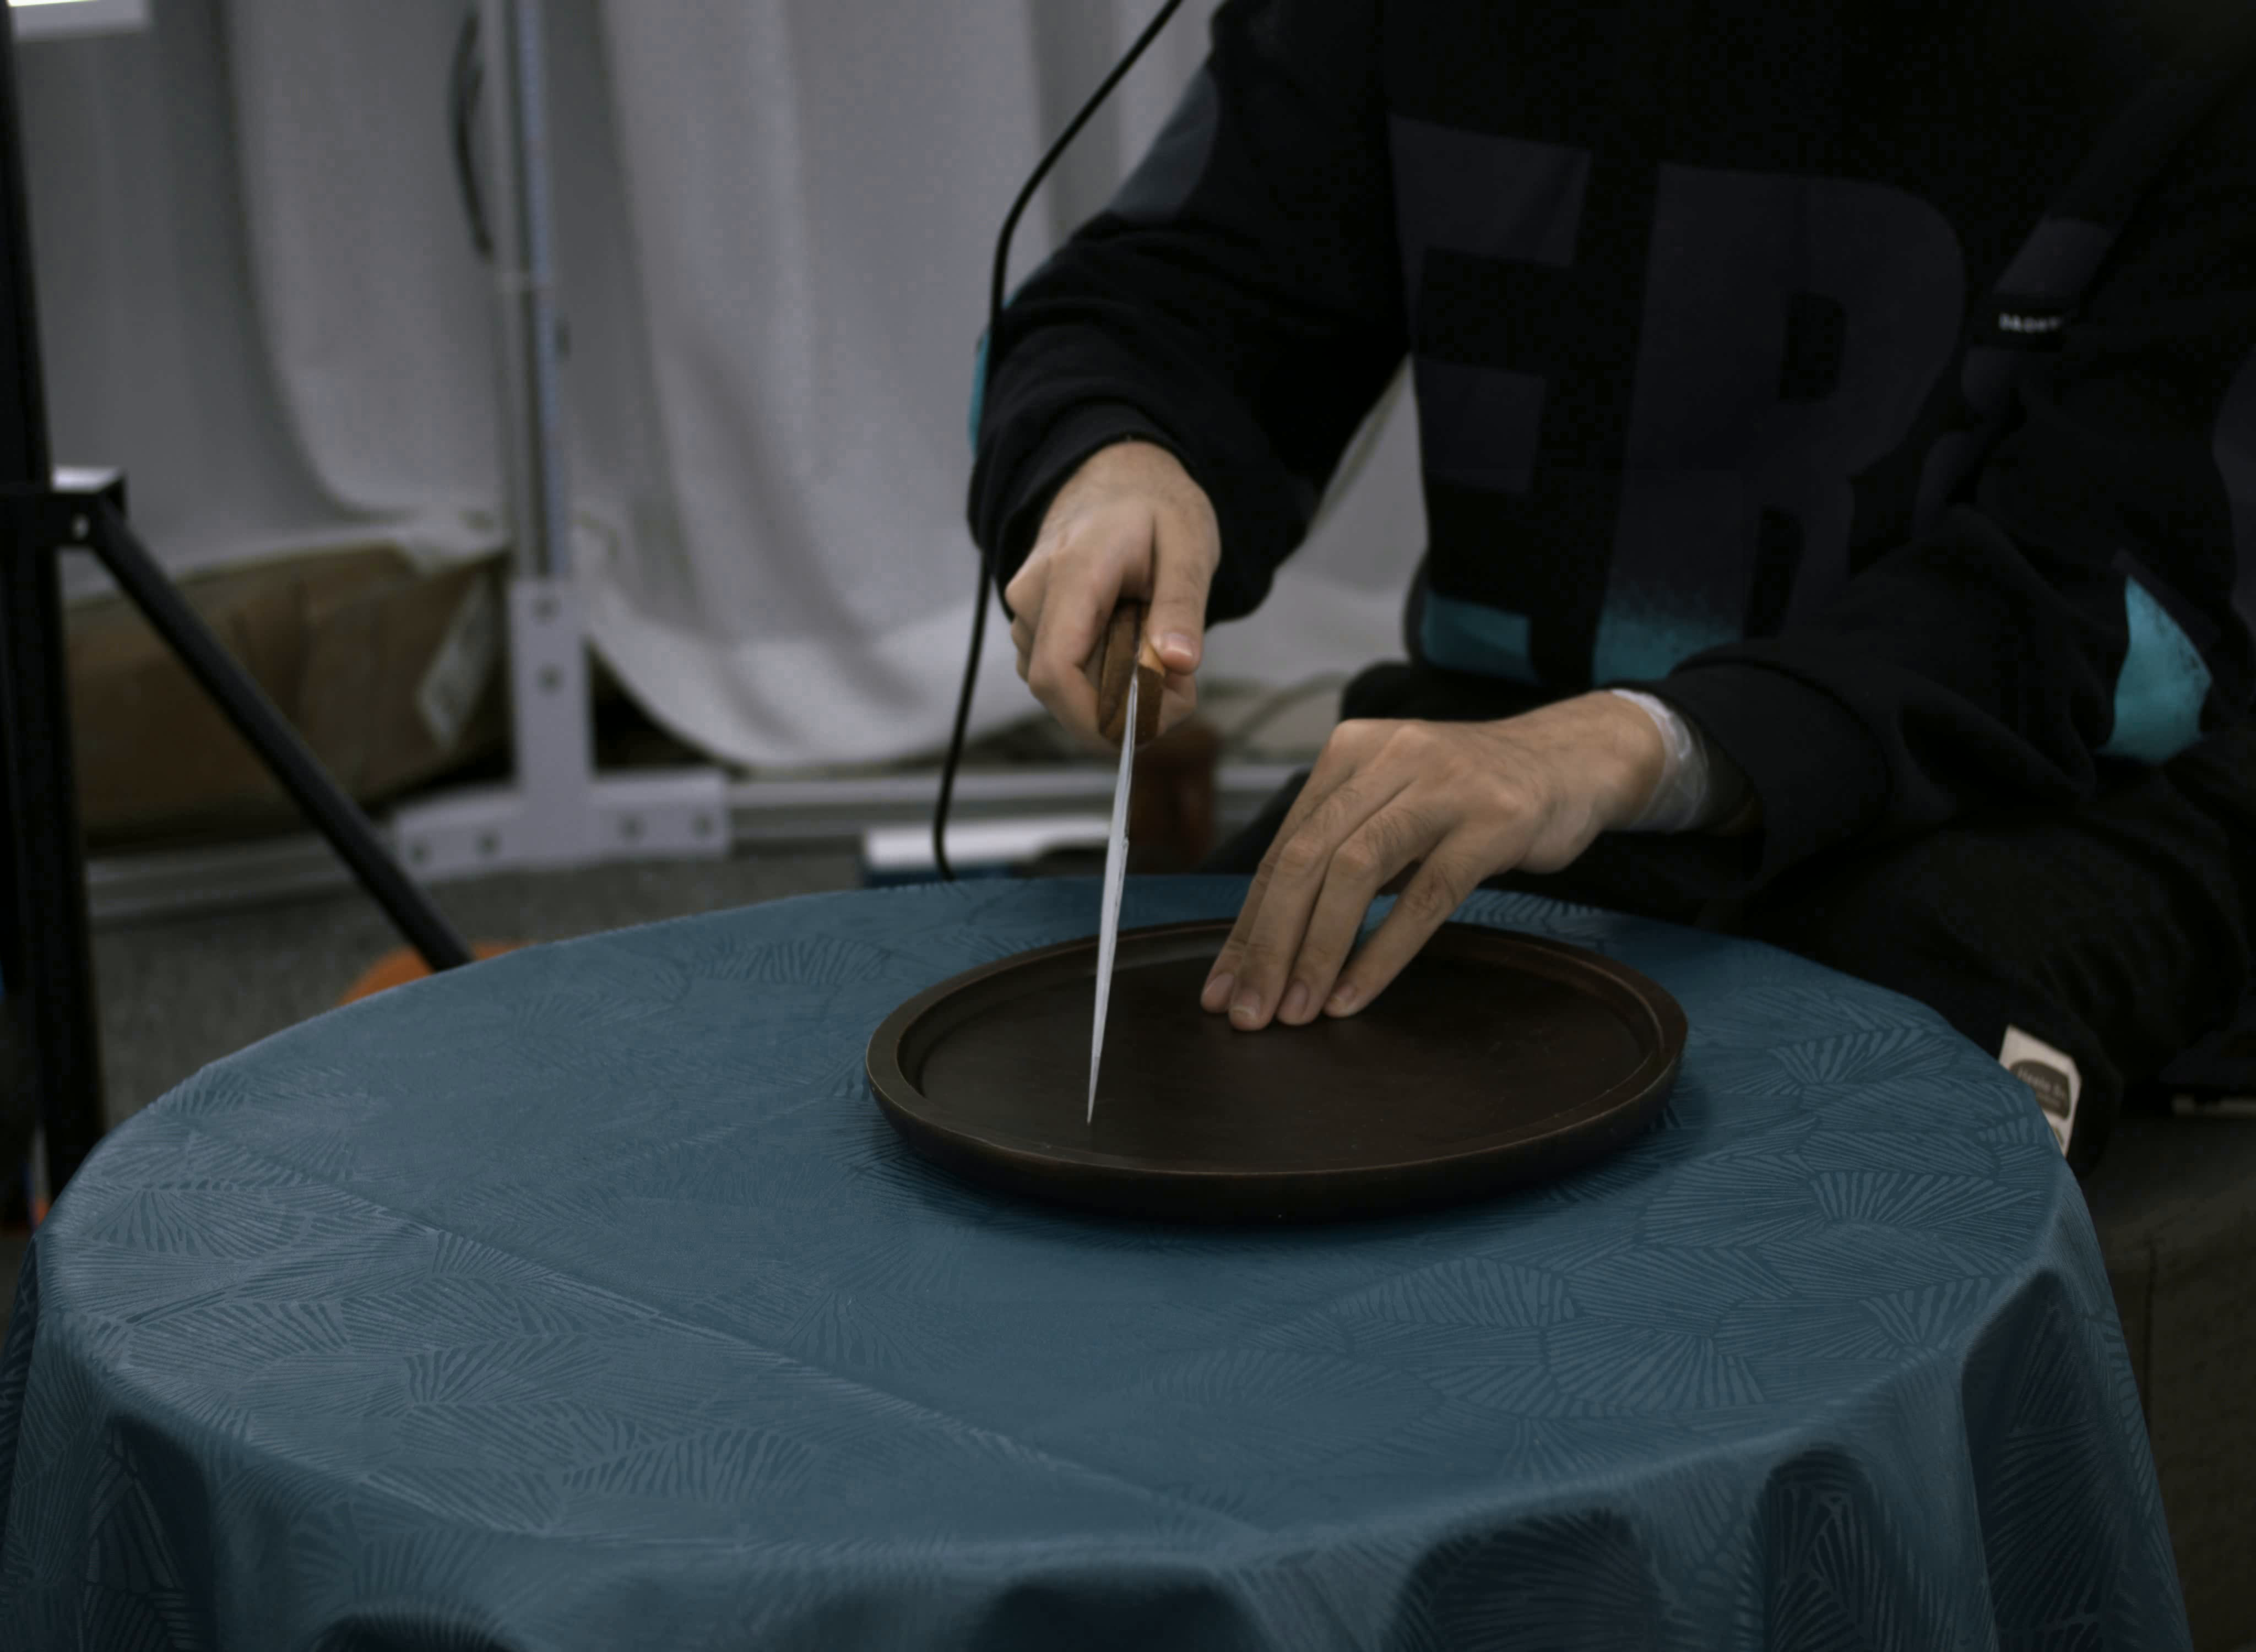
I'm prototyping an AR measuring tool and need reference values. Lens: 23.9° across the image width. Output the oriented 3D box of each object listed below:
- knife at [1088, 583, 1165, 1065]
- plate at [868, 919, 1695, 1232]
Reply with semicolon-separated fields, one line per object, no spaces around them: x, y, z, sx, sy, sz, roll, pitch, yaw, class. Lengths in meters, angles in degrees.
-0.003;-0.002;1.692;0.021;0.093;0.307;7;18;-1;knife
0.047;0.073;1.626;0.253;0.029;0.256;-2;16;-1;plate
